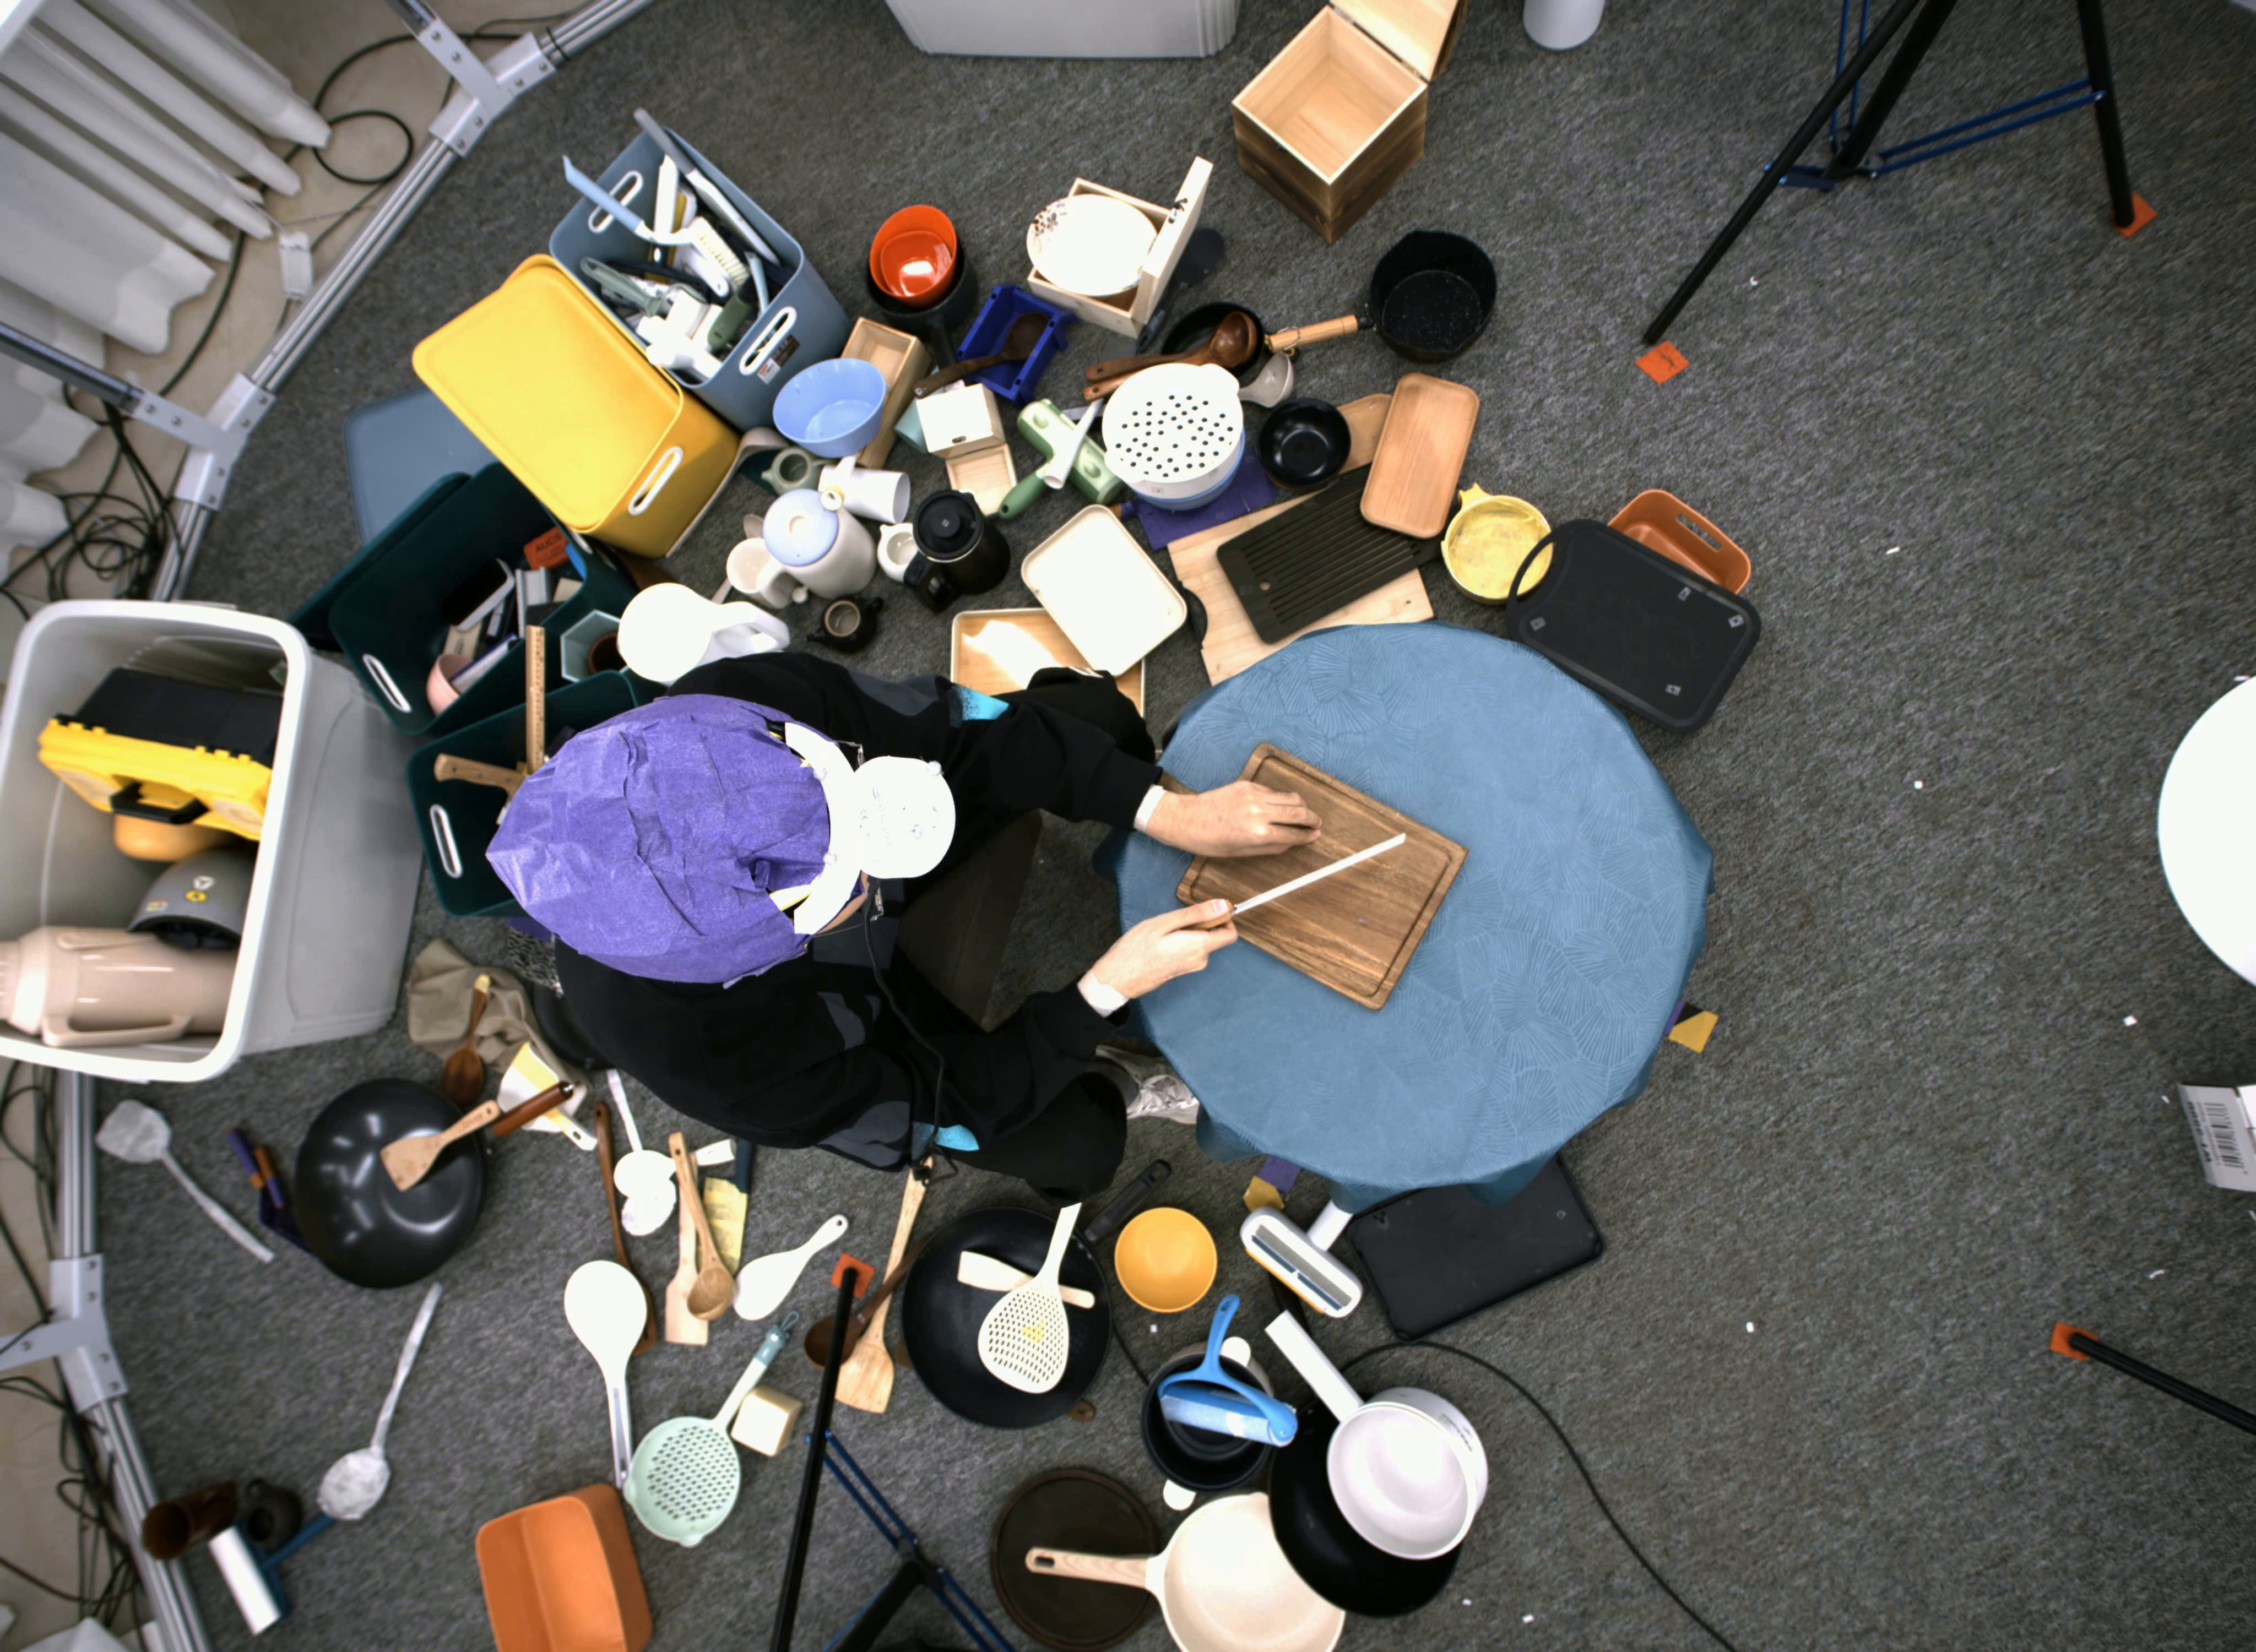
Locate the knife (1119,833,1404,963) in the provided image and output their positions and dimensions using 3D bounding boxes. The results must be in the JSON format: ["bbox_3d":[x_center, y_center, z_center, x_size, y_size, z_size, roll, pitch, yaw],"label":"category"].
[{"bbox_3d":[0.137,0.071,1.397,0.307,0.093,0.021,-24,80,8],"label":"knife"}]

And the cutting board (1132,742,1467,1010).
[{"bbox_3d":[0.161,0.028,1.472,0.351,0.023,0.201,29,92,11],"label":"cutting board"}]
